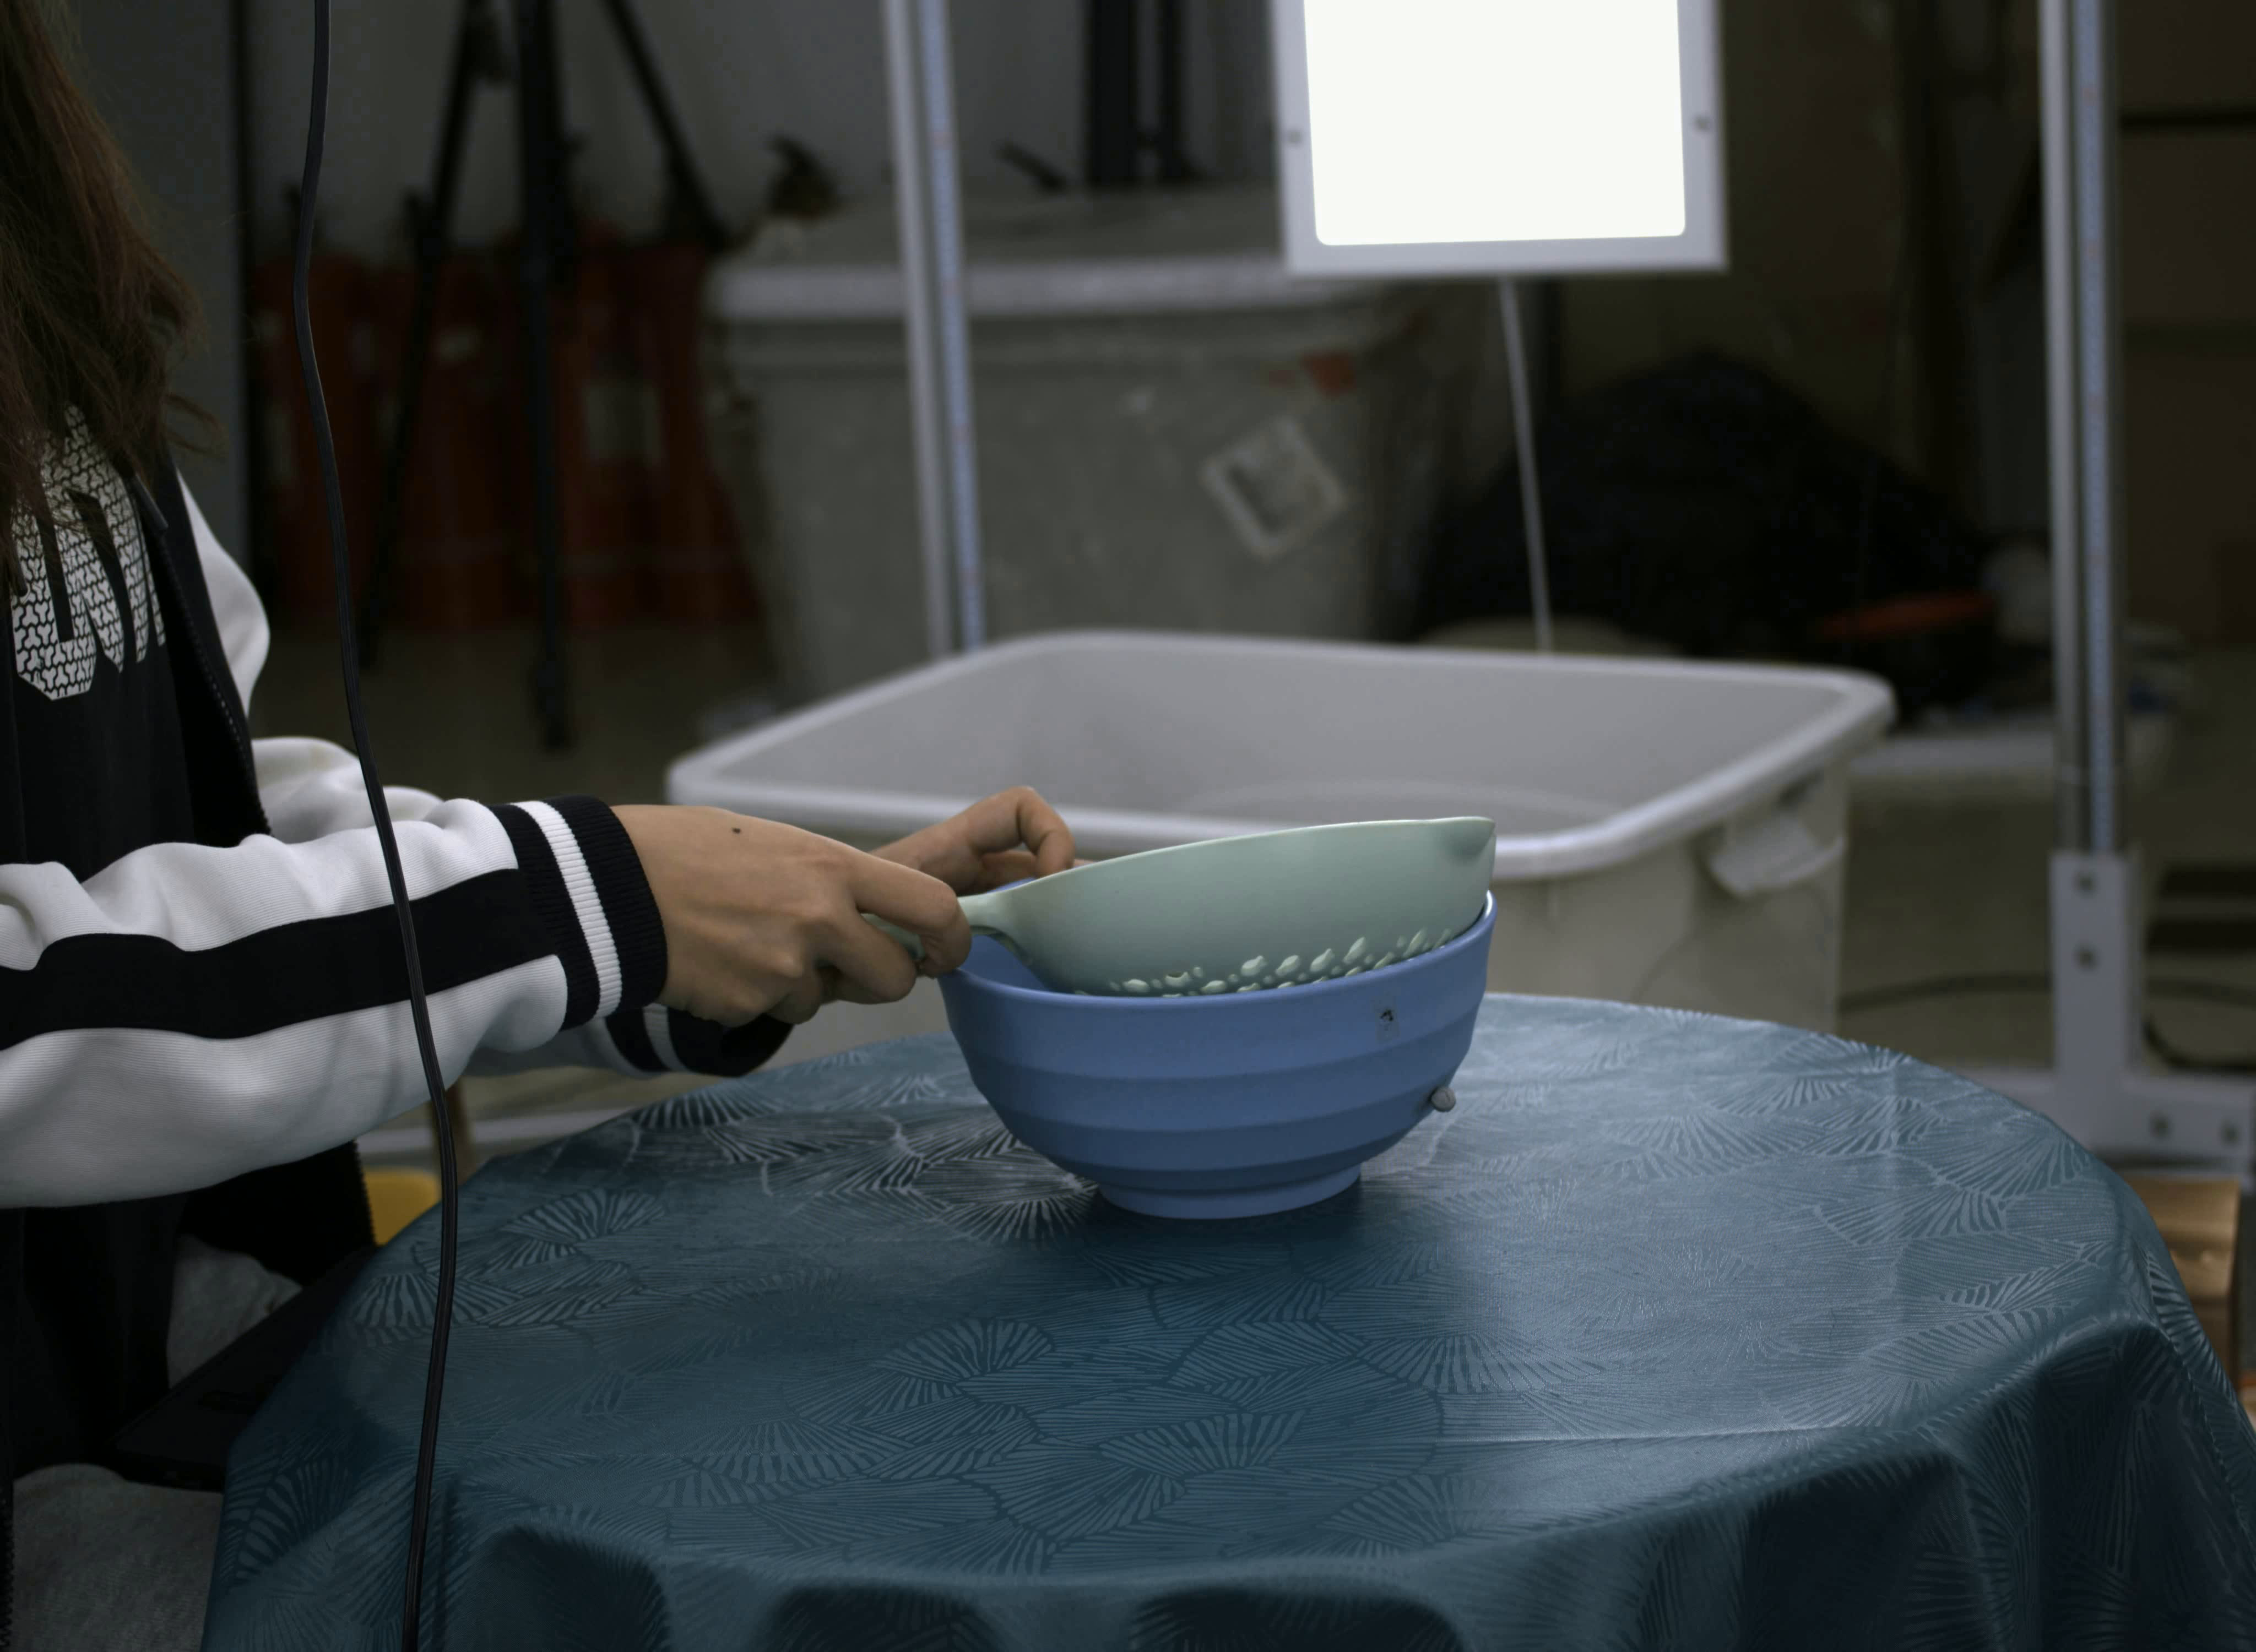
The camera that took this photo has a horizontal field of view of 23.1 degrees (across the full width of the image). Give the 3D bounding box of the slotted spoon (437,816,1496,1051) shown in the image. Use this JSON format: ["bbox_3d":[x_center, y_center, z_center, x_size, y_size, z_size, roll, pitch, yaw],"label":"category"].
[{"bbox_3d":[-0.051,0.039,1.843,0.355,0.075,0.171,1,-10,-9],"label":"slotted spoon"}]

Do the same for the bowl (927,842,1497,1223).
[{"bbox_3d":[0.032,0.077,1.891,0.196,0.096,0.196,-5,15,0],"label":"bowl"}]
